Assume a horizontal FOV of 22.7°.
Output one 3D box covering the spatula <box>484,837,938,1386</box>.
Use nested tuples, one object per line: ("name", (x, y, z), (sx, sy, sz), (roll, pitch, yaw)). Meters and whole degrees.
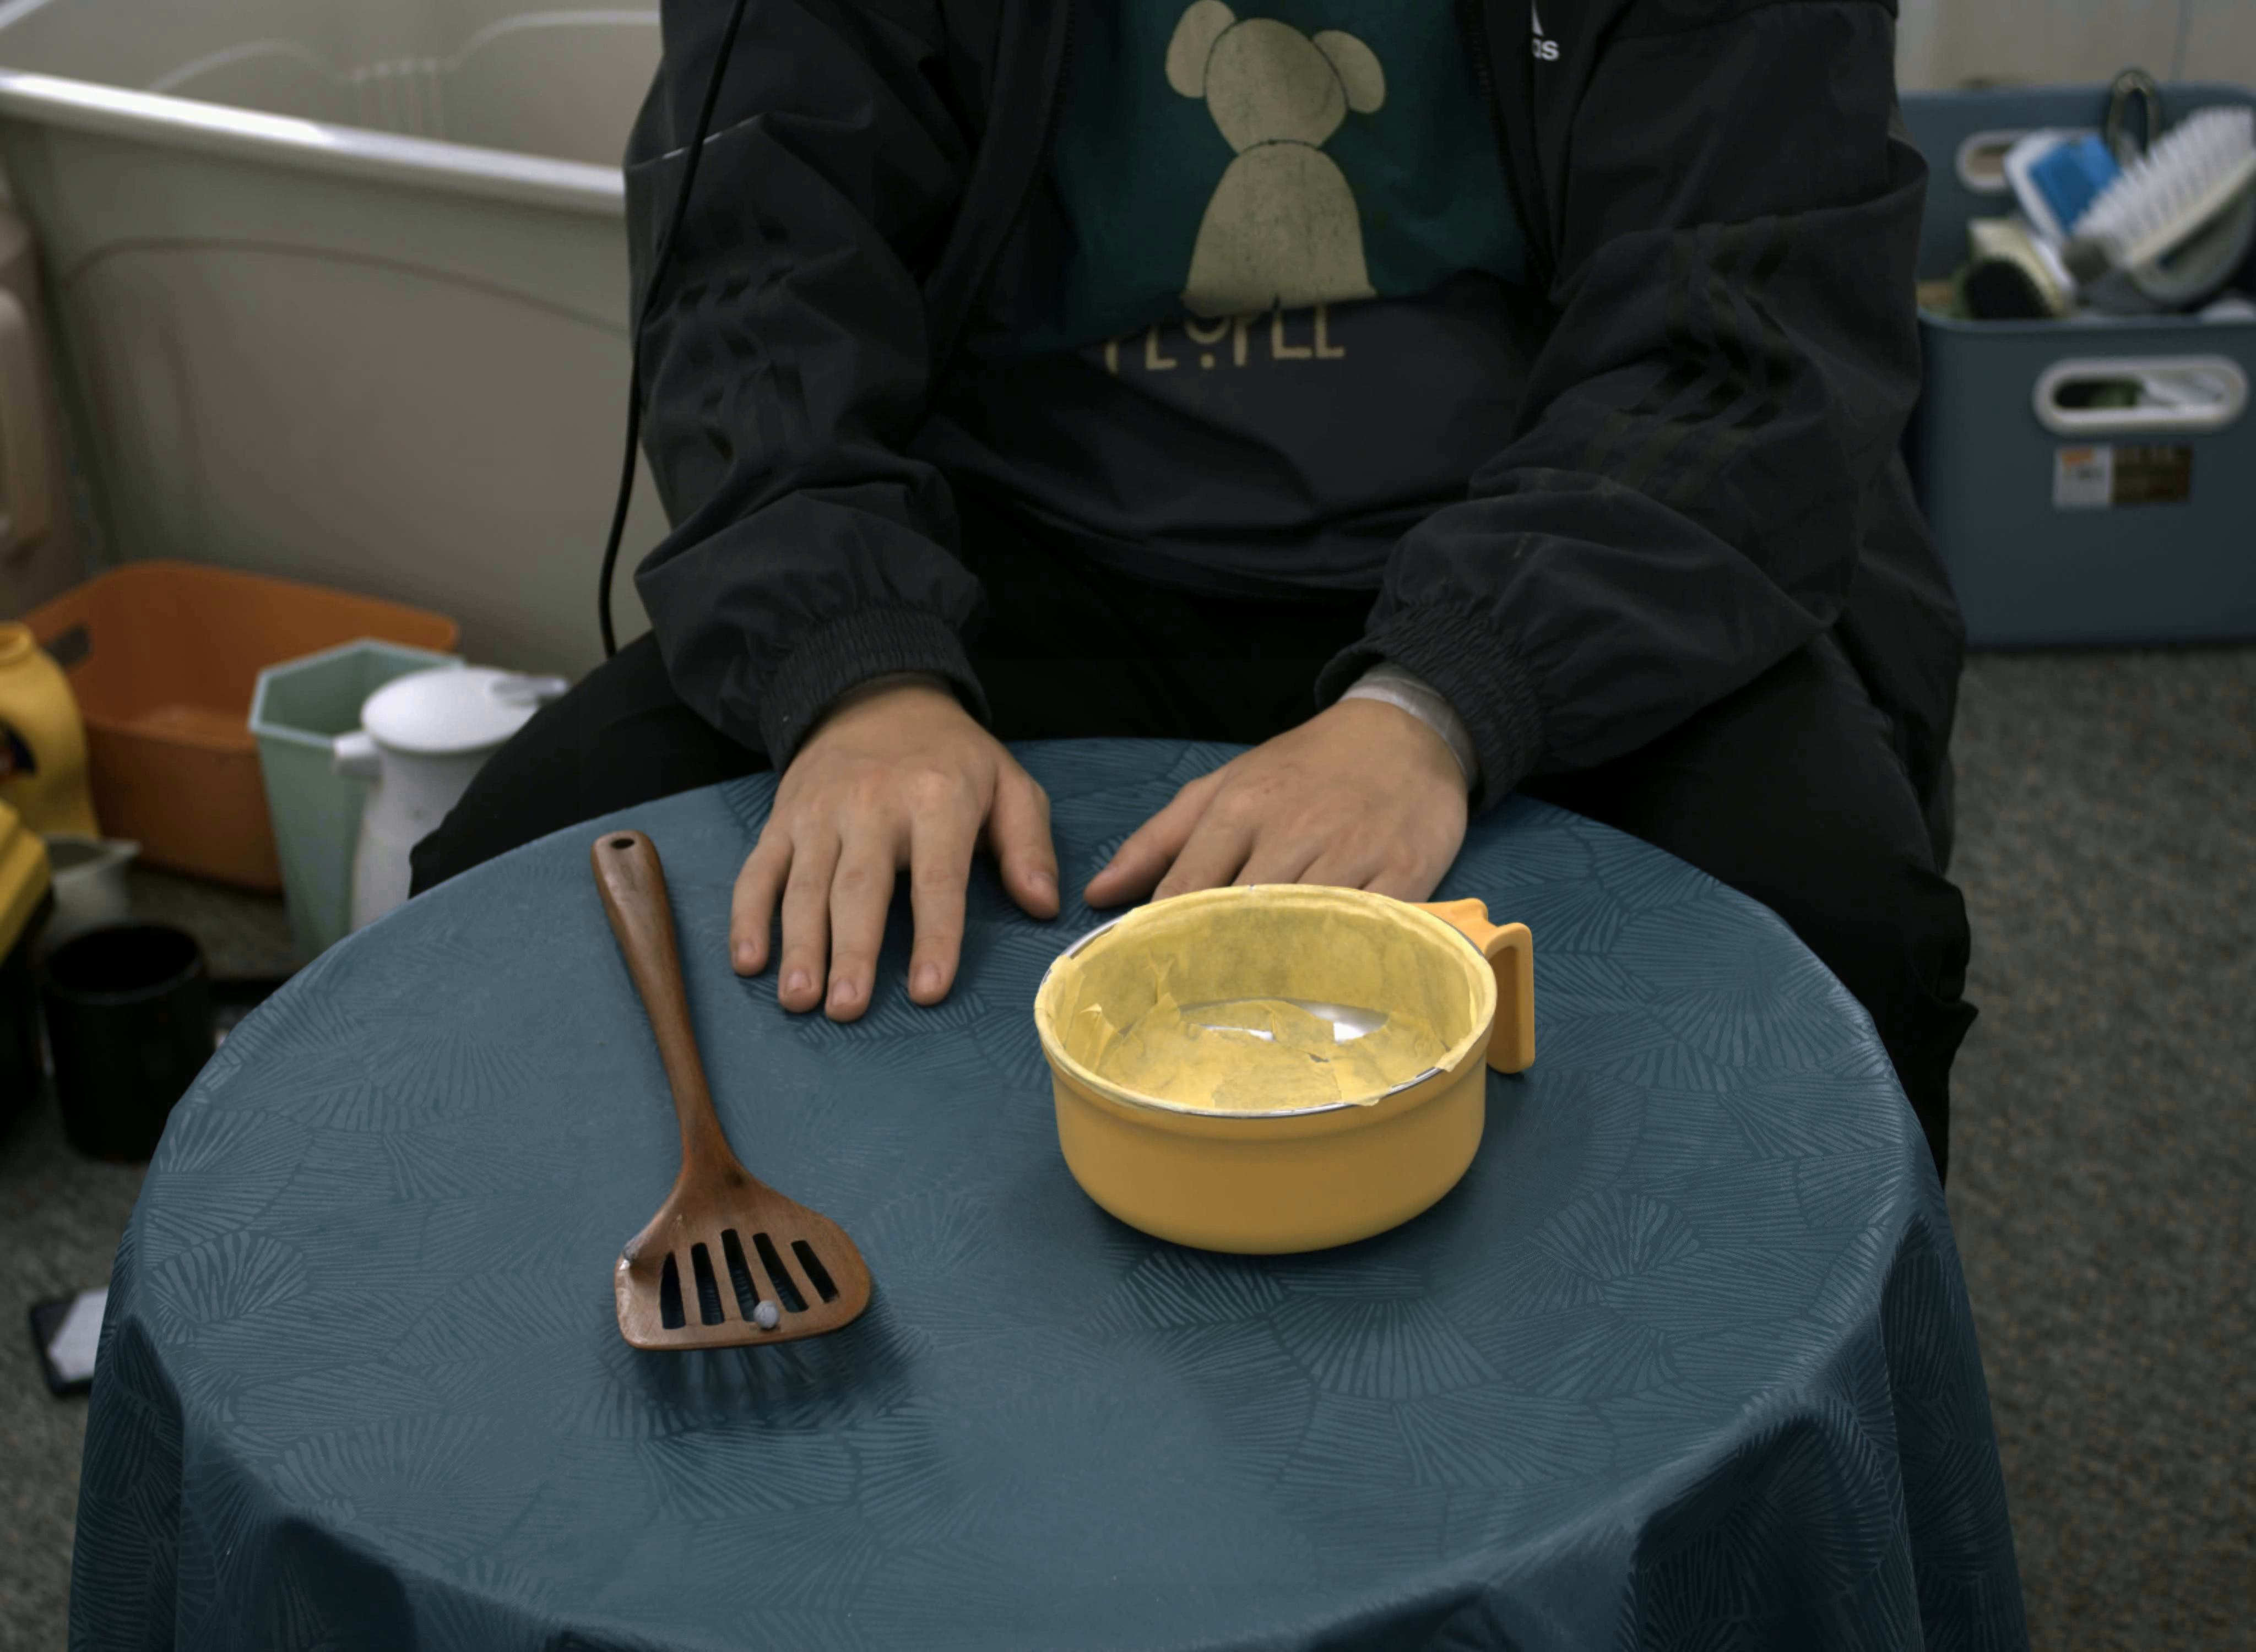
("spatula", (-0.162, 0.096, 1.916), (0.085, 0.024, 0.390), (-4, 28, -21))

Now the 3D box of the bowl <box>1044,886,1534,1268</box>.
("bowl", (0.060, 0.082, 1.861), (0.181, 0.073, 0.153), (-24, 34, -35))
